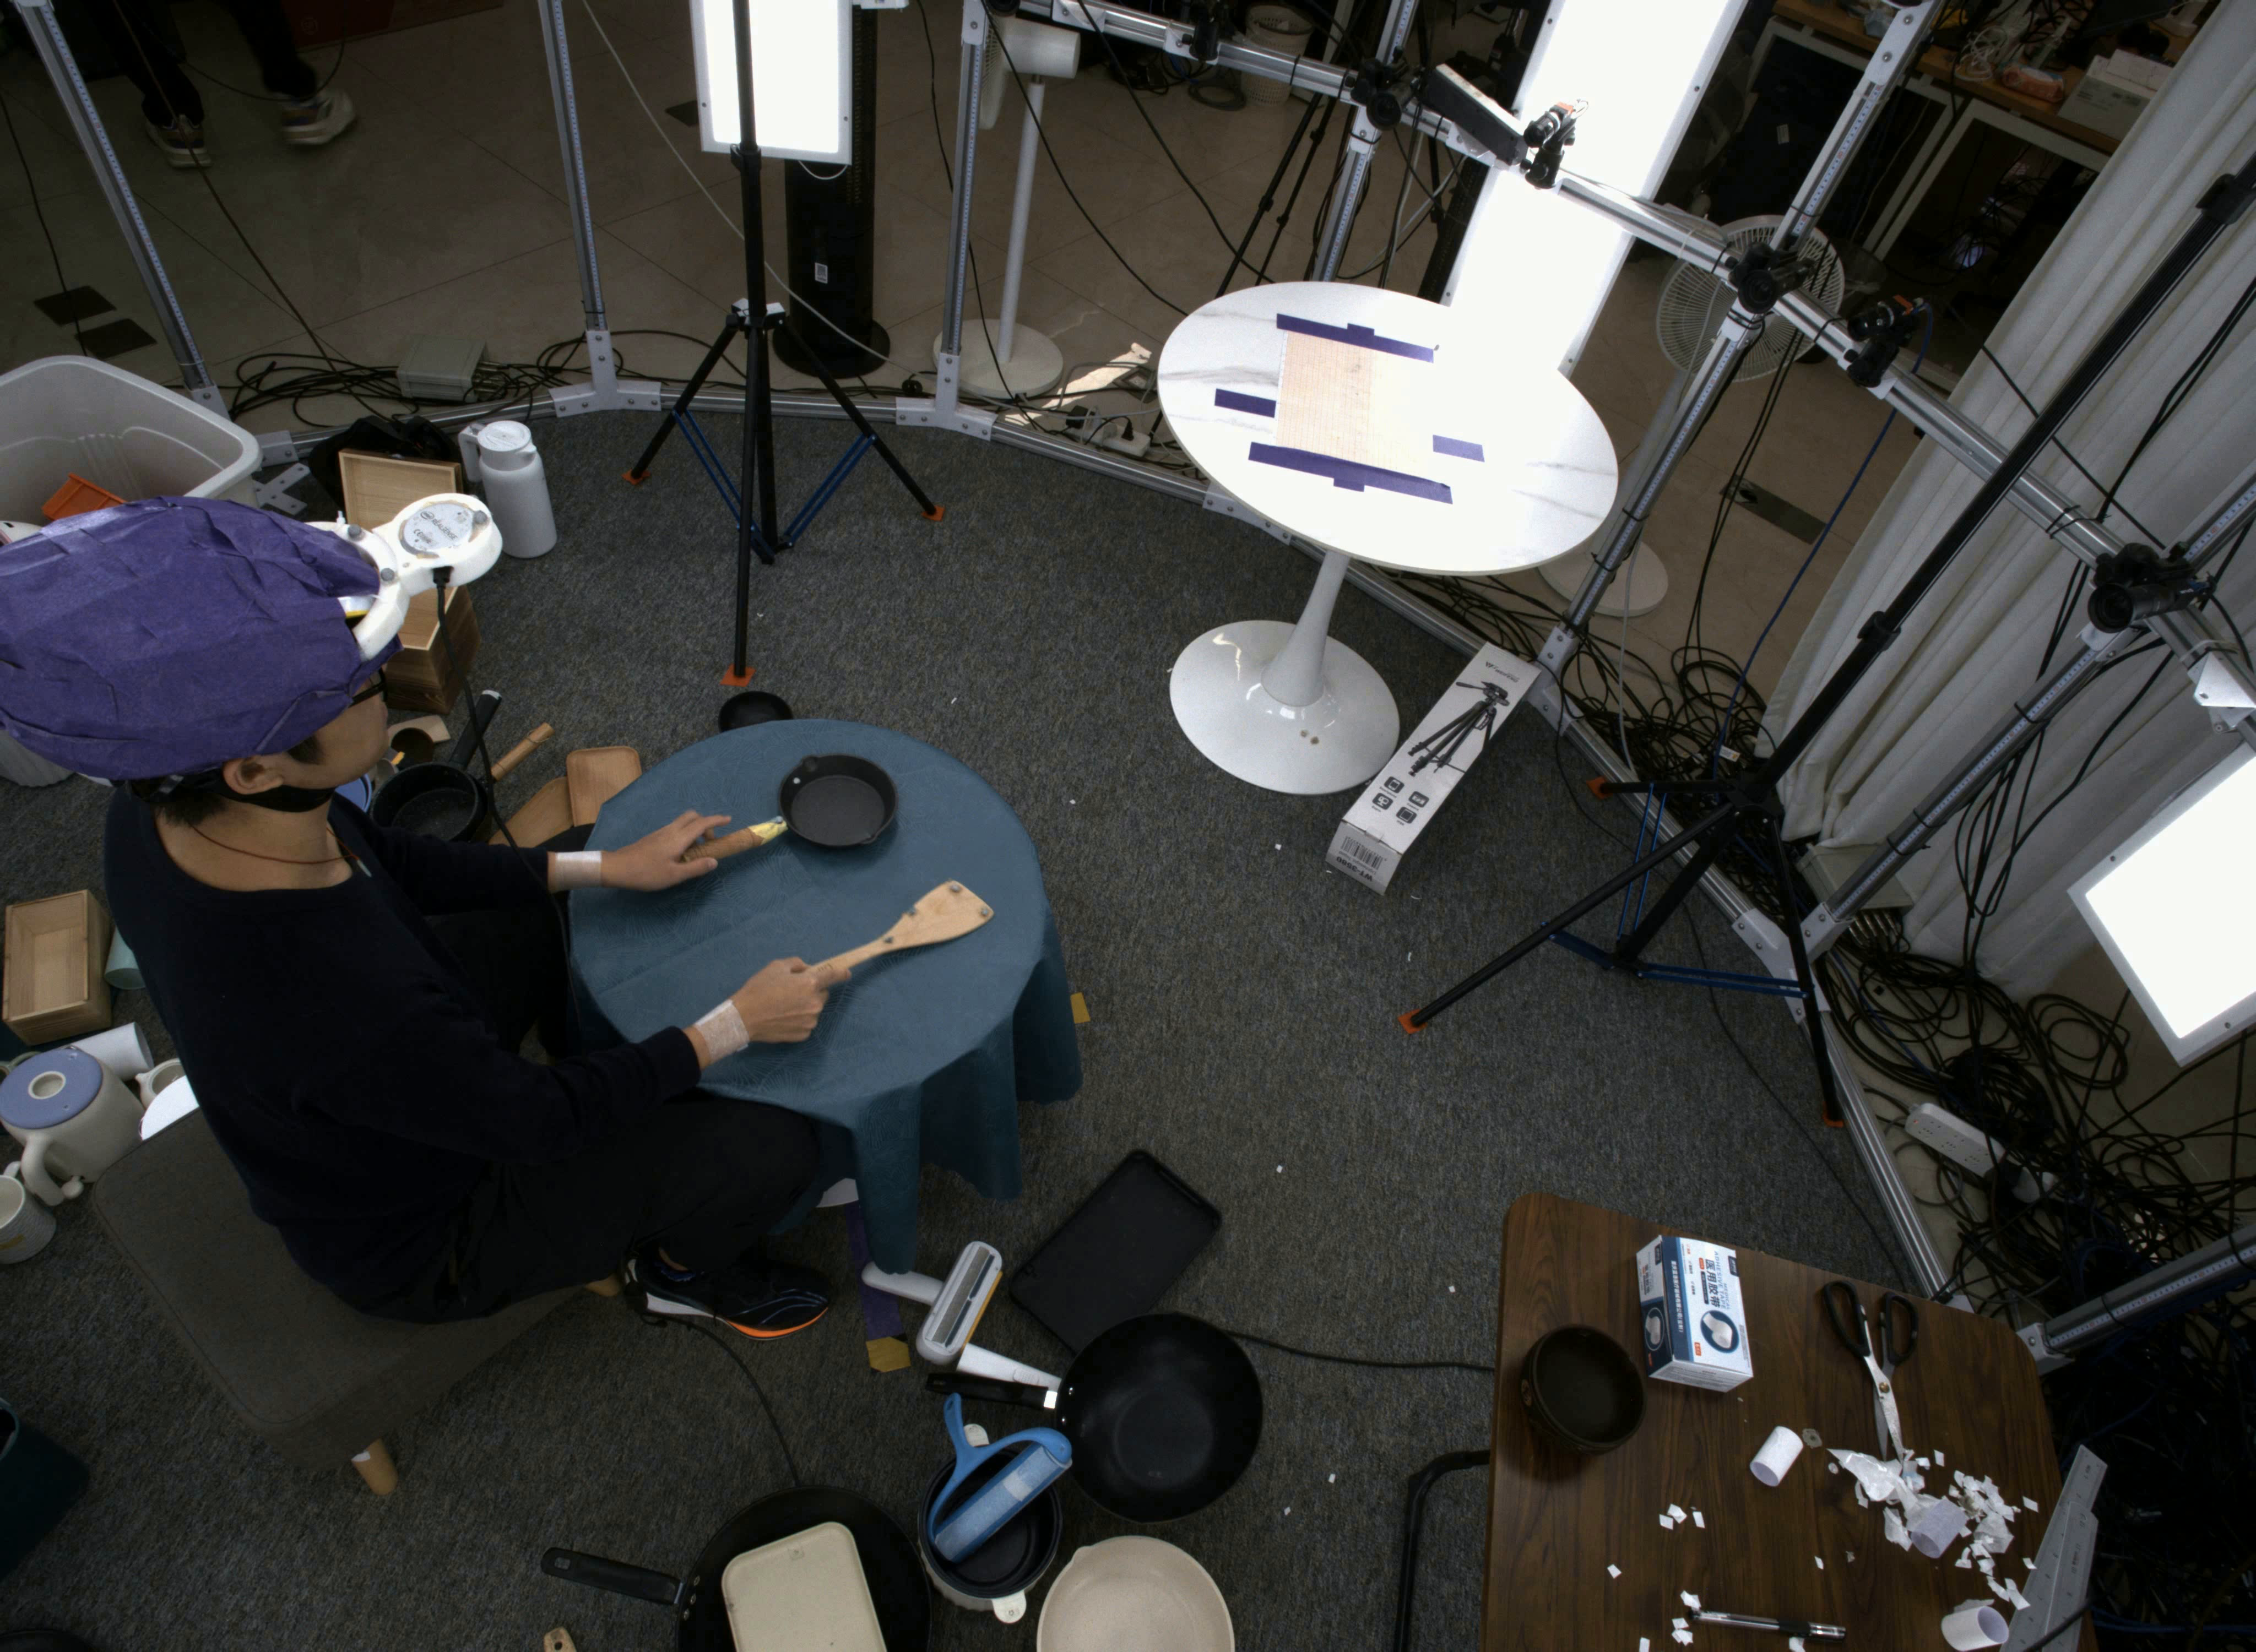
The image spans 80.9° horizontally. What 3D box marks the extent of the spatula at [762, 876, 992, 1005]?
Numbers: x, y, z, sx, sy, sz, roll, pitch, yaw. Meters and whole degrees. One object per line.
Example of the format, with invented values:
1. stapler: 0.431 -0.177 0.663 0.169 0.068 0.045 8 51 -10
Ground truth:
1. spatula: -0.310 0.140 1.597 0.078 0.017 0.330 43 44 21

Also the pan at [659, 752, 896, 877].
1. pan: -0.453 -0.002 1.675 0.326 0.050 0.165 -25 63 -31
